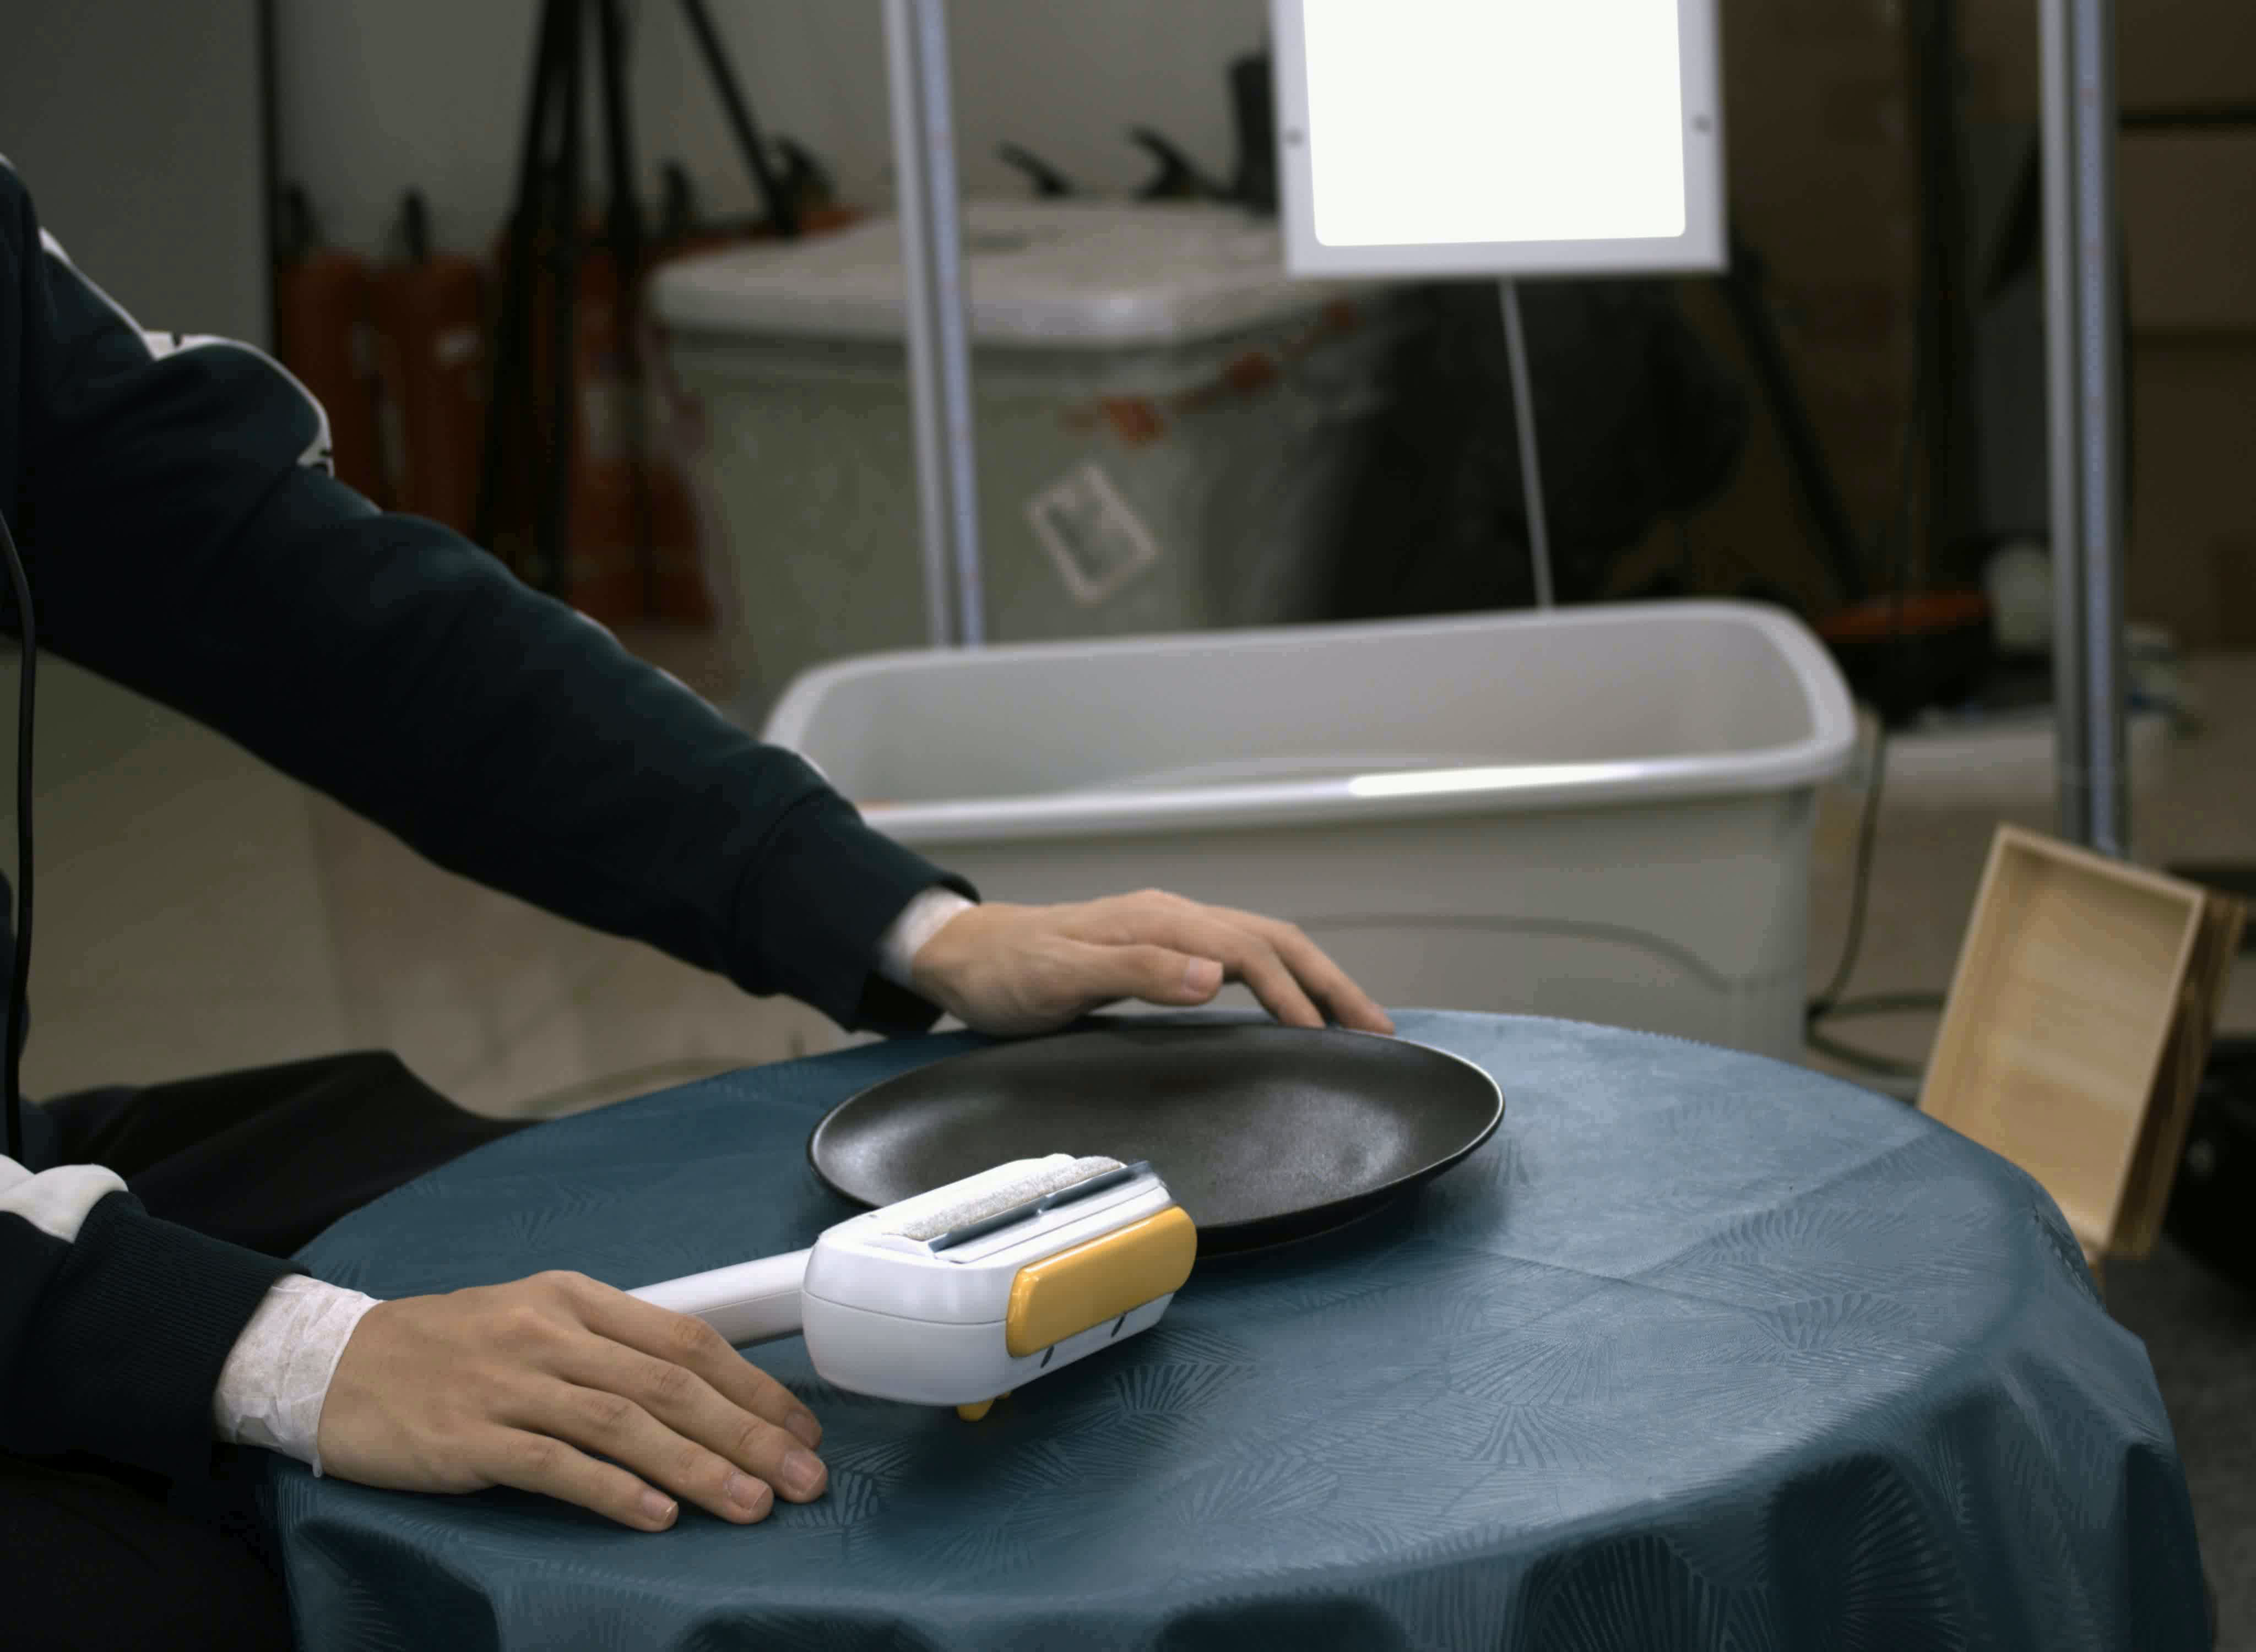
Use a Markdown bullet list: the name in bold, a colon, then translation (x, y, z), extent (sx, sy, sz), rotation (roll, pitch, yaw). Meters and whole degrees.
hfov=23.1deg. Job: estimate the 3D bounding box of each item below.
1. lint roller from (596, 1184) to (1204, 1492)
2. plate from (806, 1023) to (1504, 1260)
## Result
- **lint roller**: translation (-0.088, 0.164, 1.714), extent (0.196, 0.074, 0.188), rotation (-14, 1, 30)
- **plate**: translation (0.010, 0.112, 1.902), extent (0.244, 0.023, 0.244), rotation (-5, 14, 0)
